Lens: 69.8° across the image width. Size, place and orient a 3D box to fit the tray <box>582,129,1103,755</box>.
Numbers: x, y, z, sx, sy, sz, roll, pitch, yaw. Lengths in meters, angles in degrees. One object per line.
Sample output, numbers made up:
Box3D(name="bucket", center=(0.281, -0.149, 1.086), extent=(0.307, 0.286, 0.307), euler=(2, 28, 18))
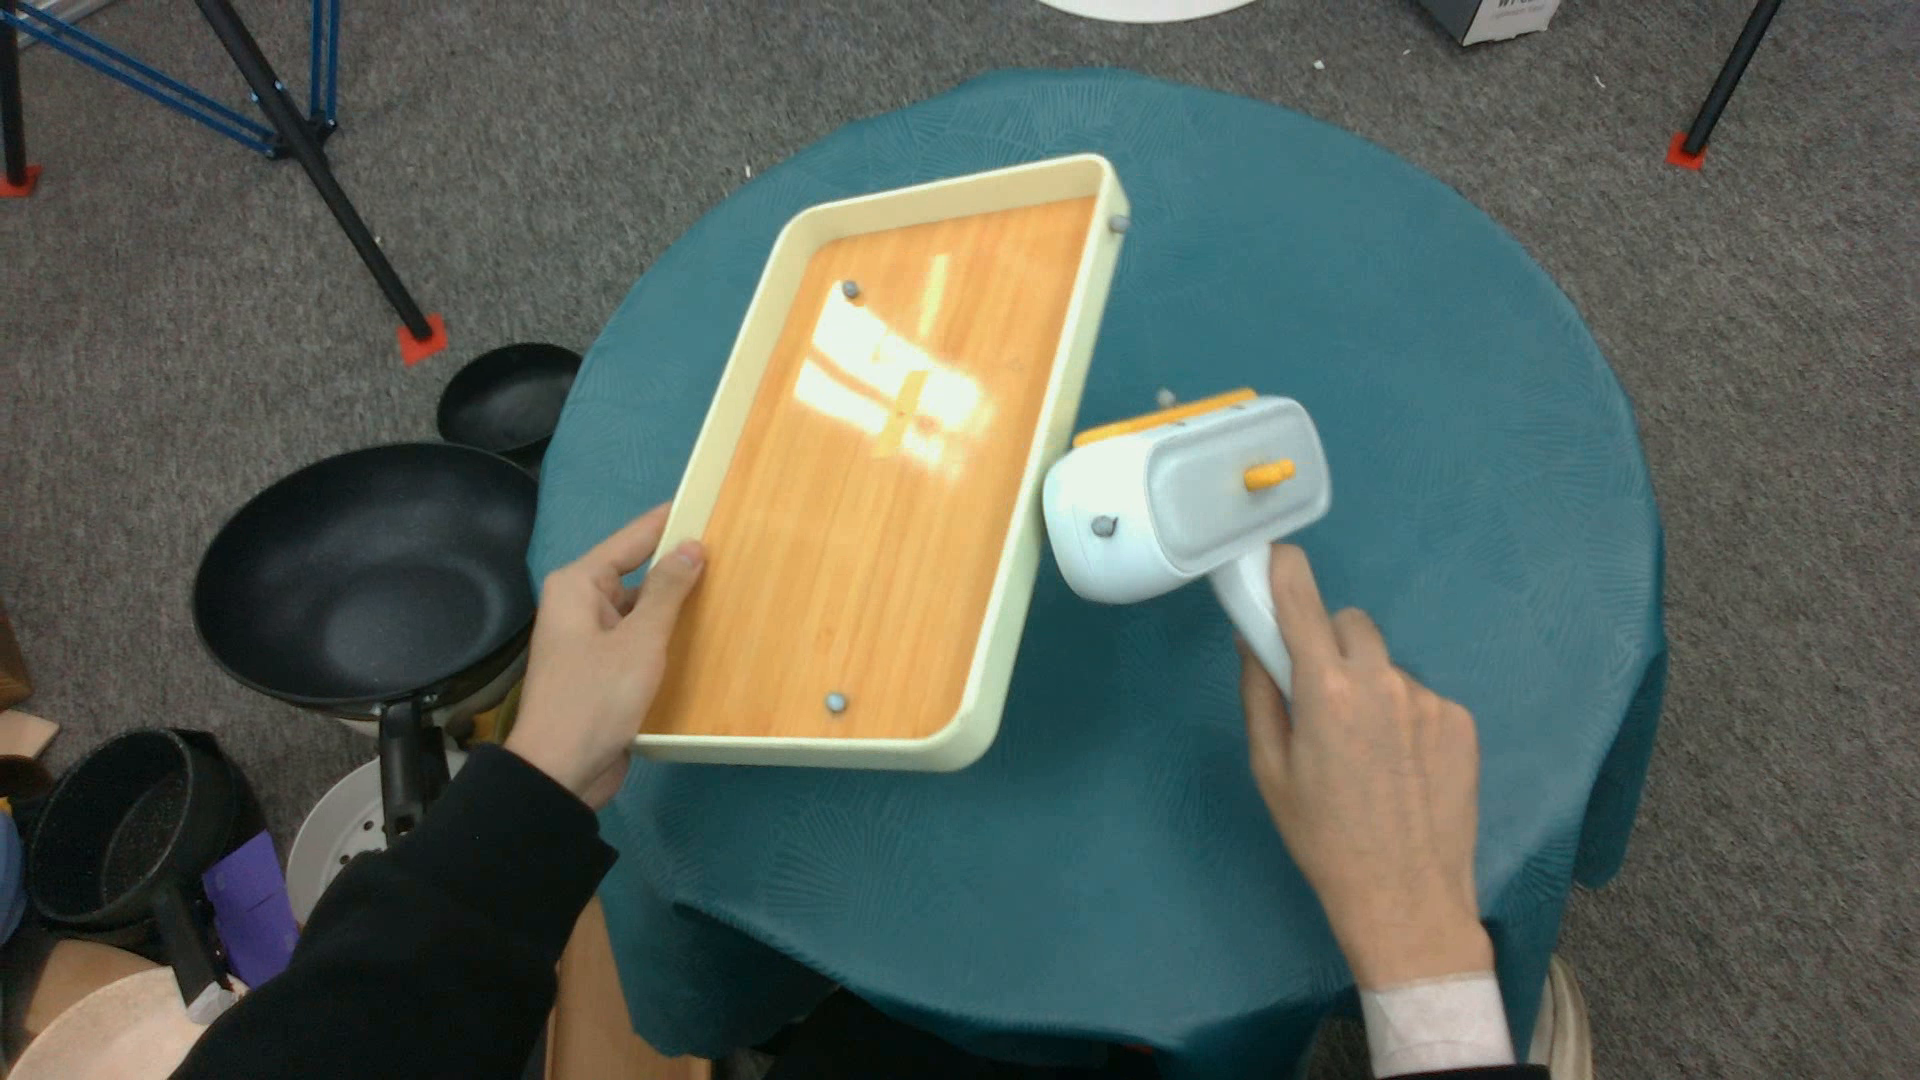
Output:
Box3D(name="tray", center=(-0.048, -0.050, 0.618), extent=(0.191, 0.027, 0.301), euler=(-3, 59, 31))

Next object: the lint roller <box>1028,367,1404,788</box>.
Box3D(name="lint roller", center=(0.124, 0.022, 0.593), extent=(0.074, 0.193, 0.192), euler=(-24, 90, 33))
